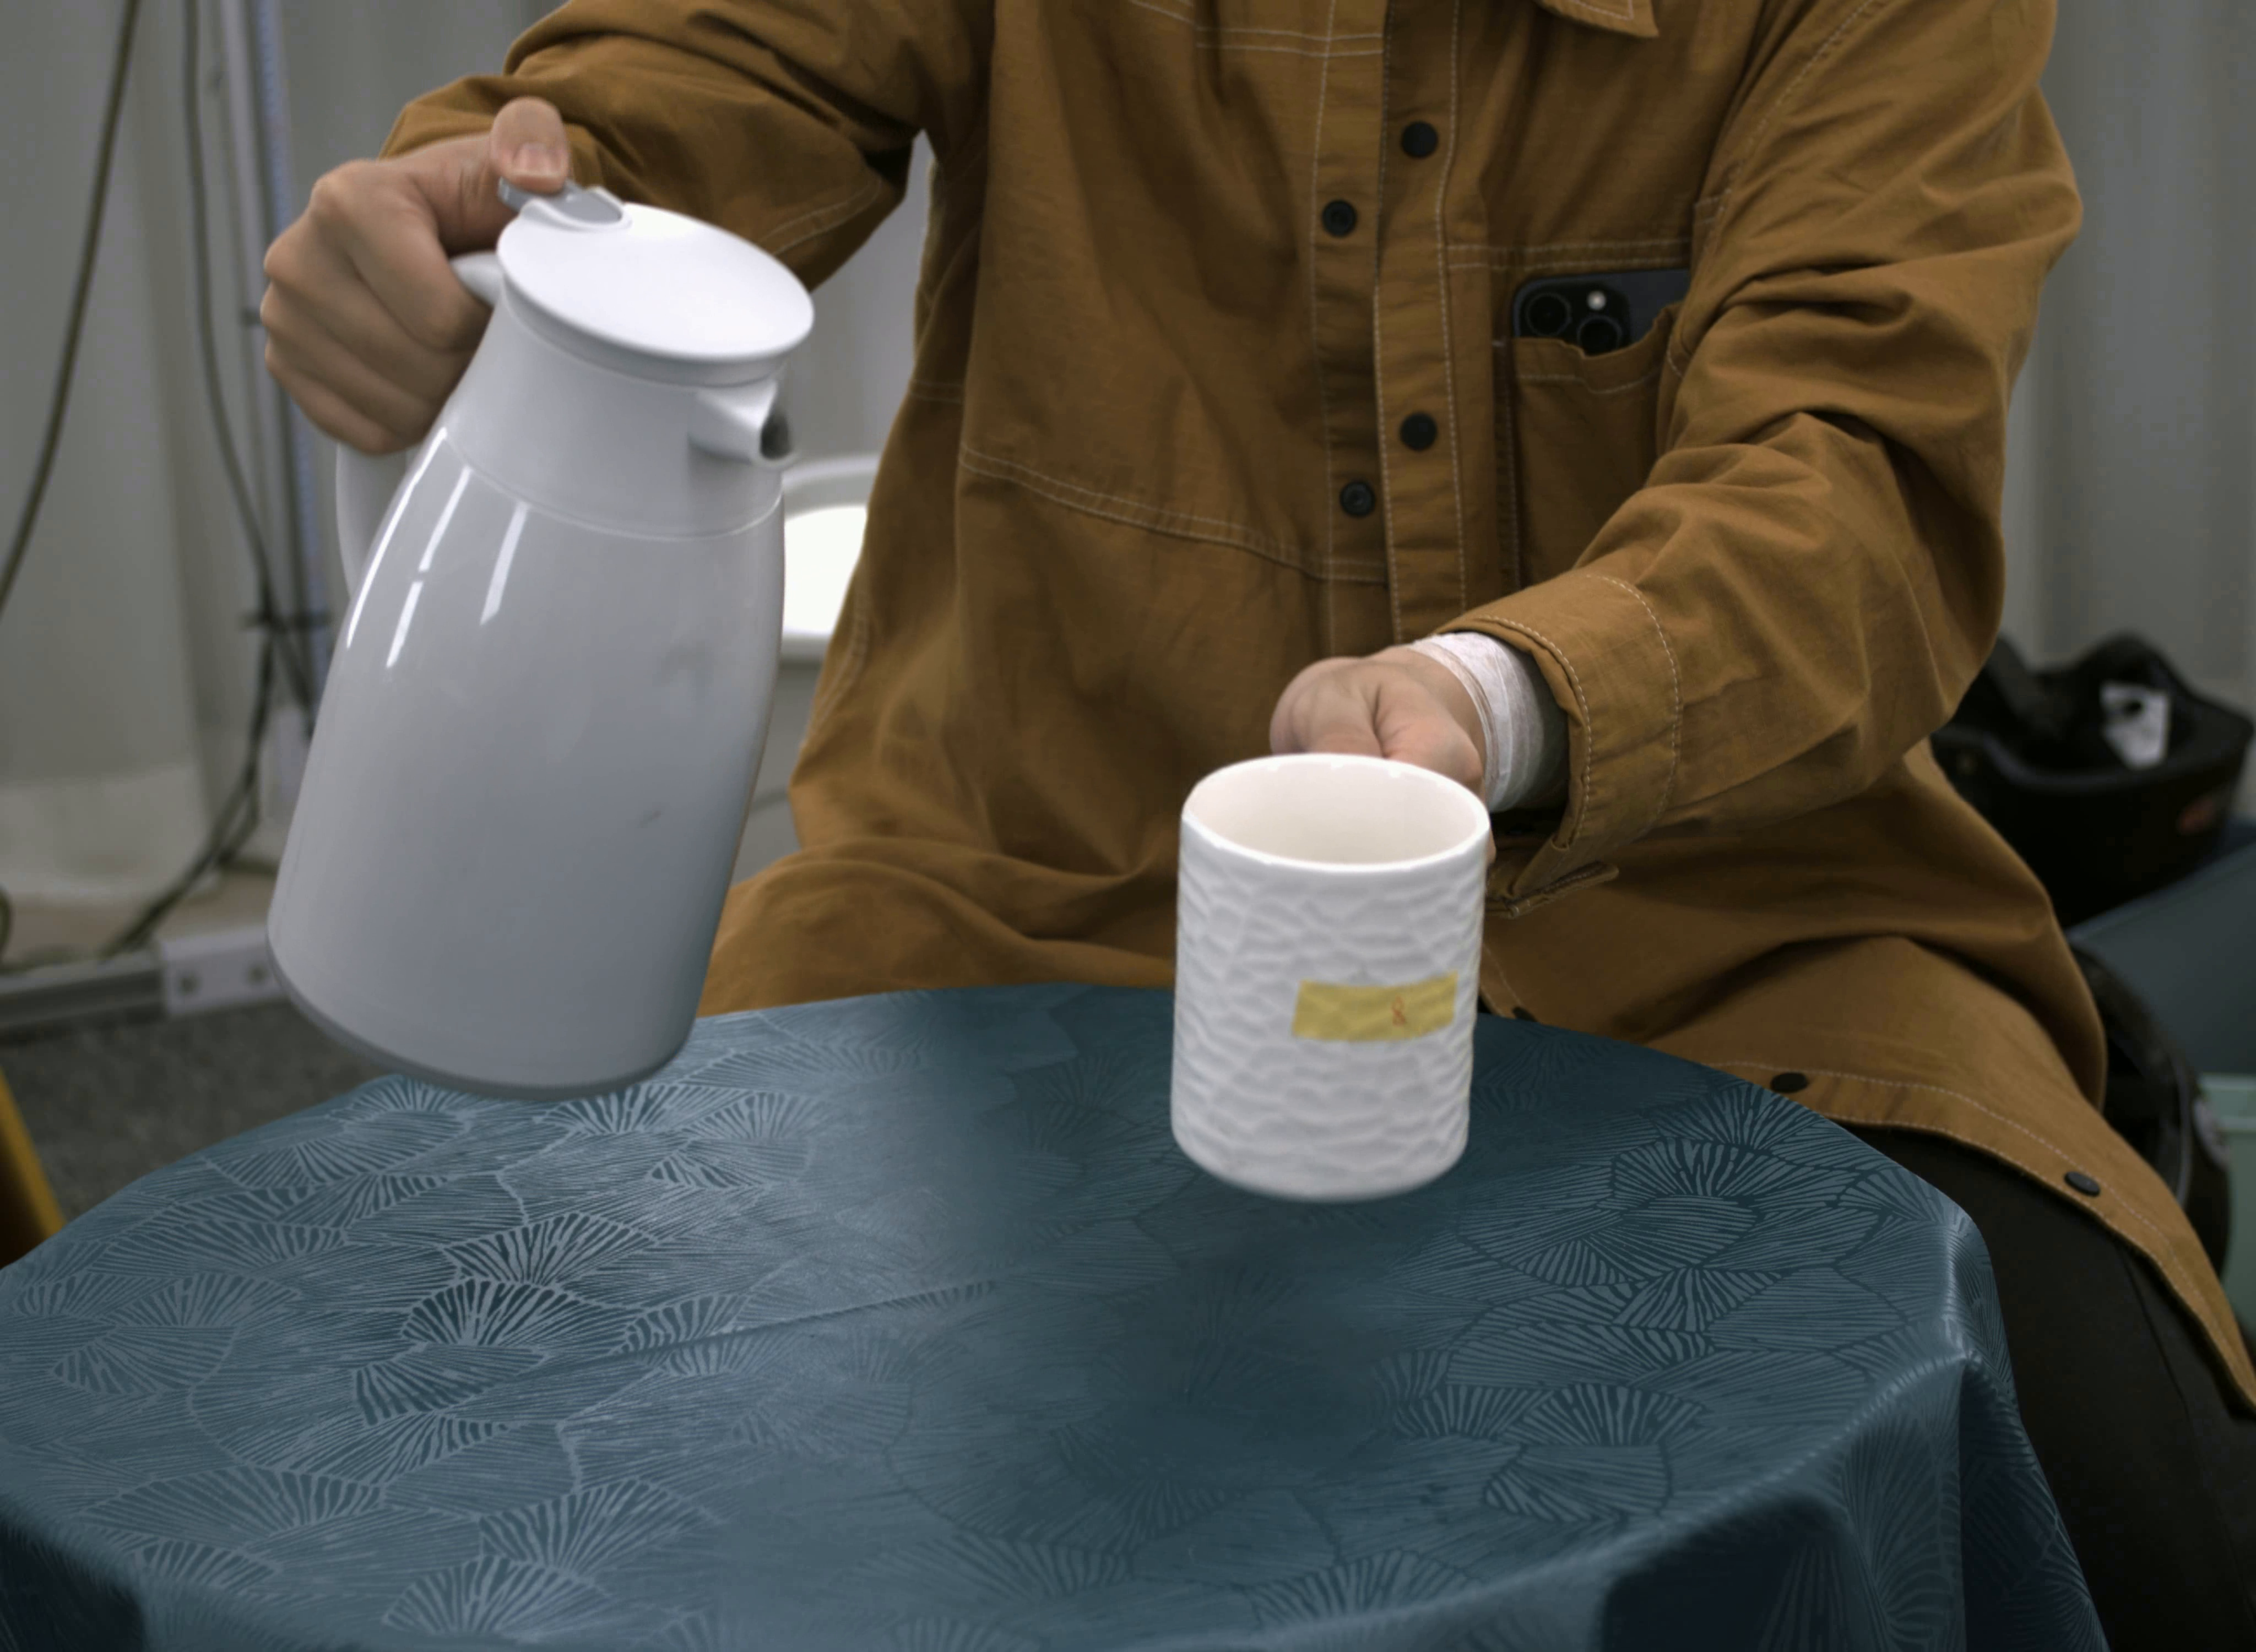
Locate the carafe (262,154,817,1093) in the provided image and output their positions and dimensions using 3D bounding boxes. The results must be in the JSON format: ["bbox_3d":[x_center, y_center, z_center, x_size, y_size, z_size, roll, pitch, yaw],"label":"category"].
[{"bbox_3d":[-0.177,-0.069,1.605,0.169,0.246,0.132,36,33,31],"label":"carafe"}]

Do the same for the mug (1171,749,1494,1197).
[{"bbox_3d":[0.056,0.035,1.527,0.084,0.101,0.119,3,20,0],"label":"mug"}]
